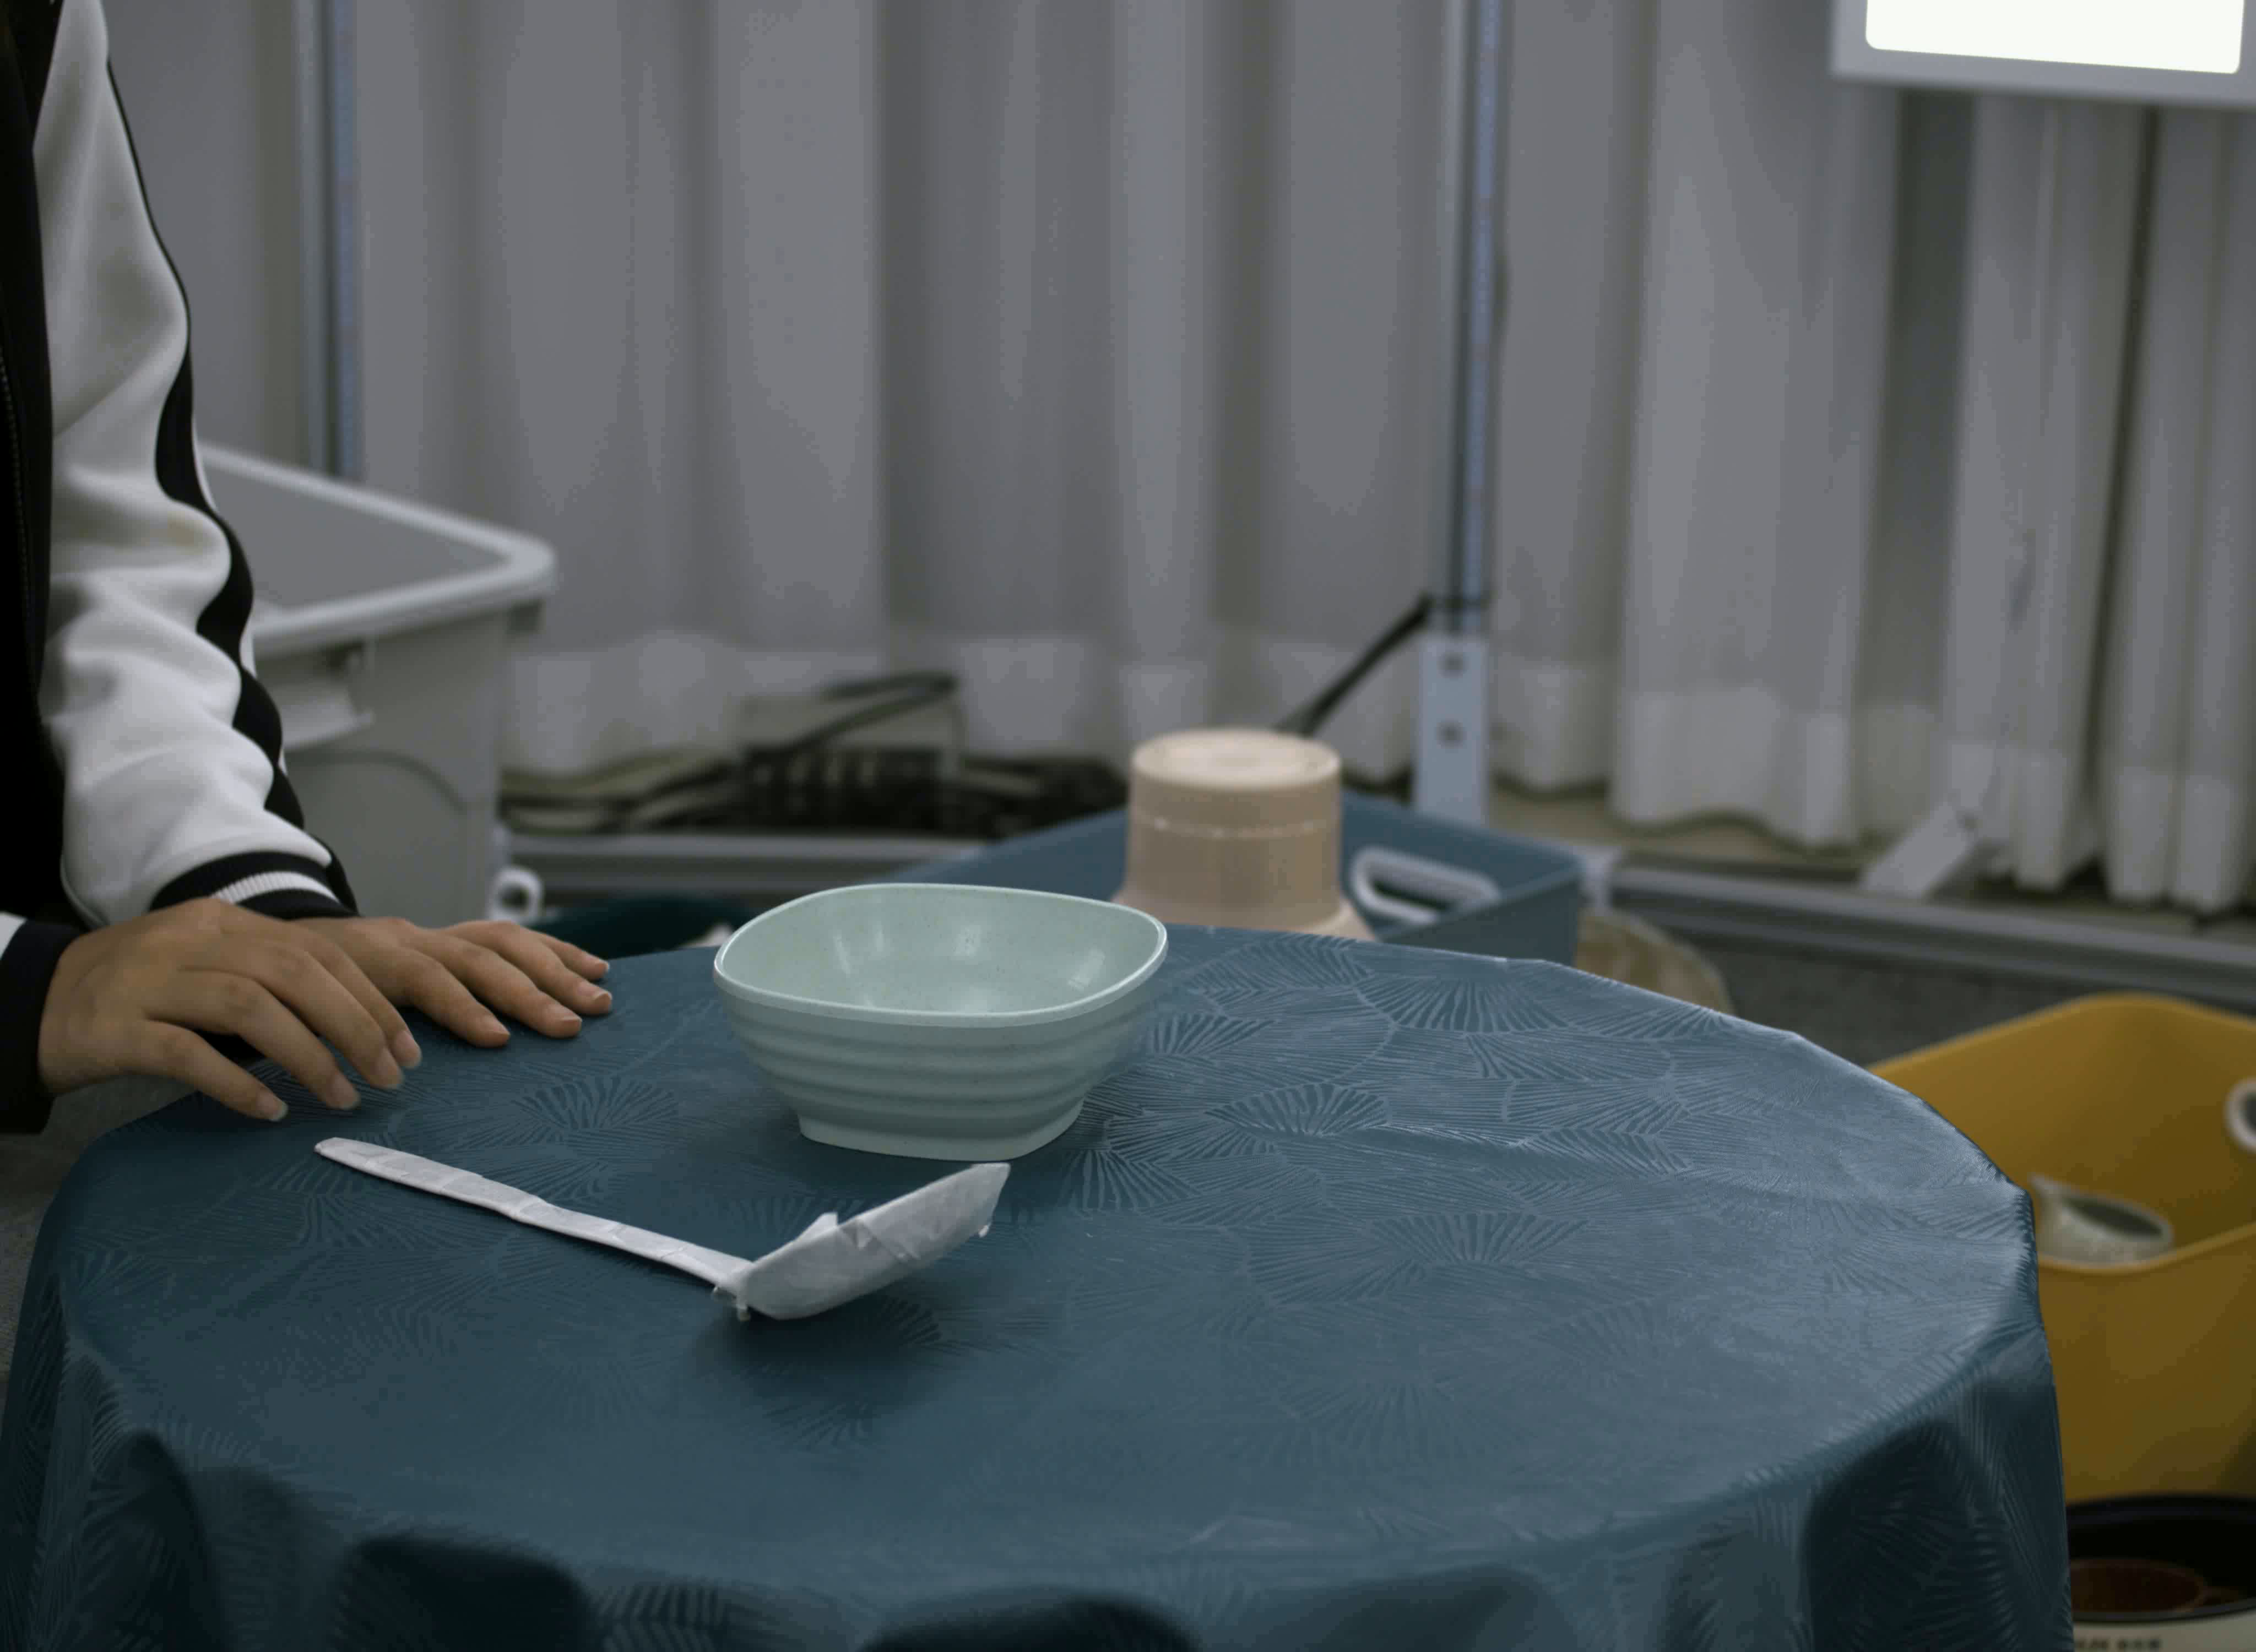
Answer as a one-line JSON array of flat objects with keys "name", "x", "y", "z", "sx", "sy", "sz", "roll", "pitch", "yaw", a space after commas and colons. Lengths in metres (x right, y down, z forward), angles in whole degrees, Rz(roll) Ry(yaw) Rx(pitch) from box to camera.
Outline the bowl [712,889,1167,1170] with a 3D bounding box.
[{"name": "bowl", "x": -0.059, "y": 0.068, "z": 1.682, "sx": 0.151, "sy": 0.059, "sz": 0.150, "roll": 1, "pitch": 16, "yaw": 0}]

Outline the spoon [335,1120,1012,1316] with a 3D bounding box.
[{"name": "spoon", "x": -0.144, "y": 0.096, "z": 1.567, "sx": 0.273, "sy": 0.060, "sz": 0.101, "roll": 15, "pitch": 16, "yaw": 42}]
